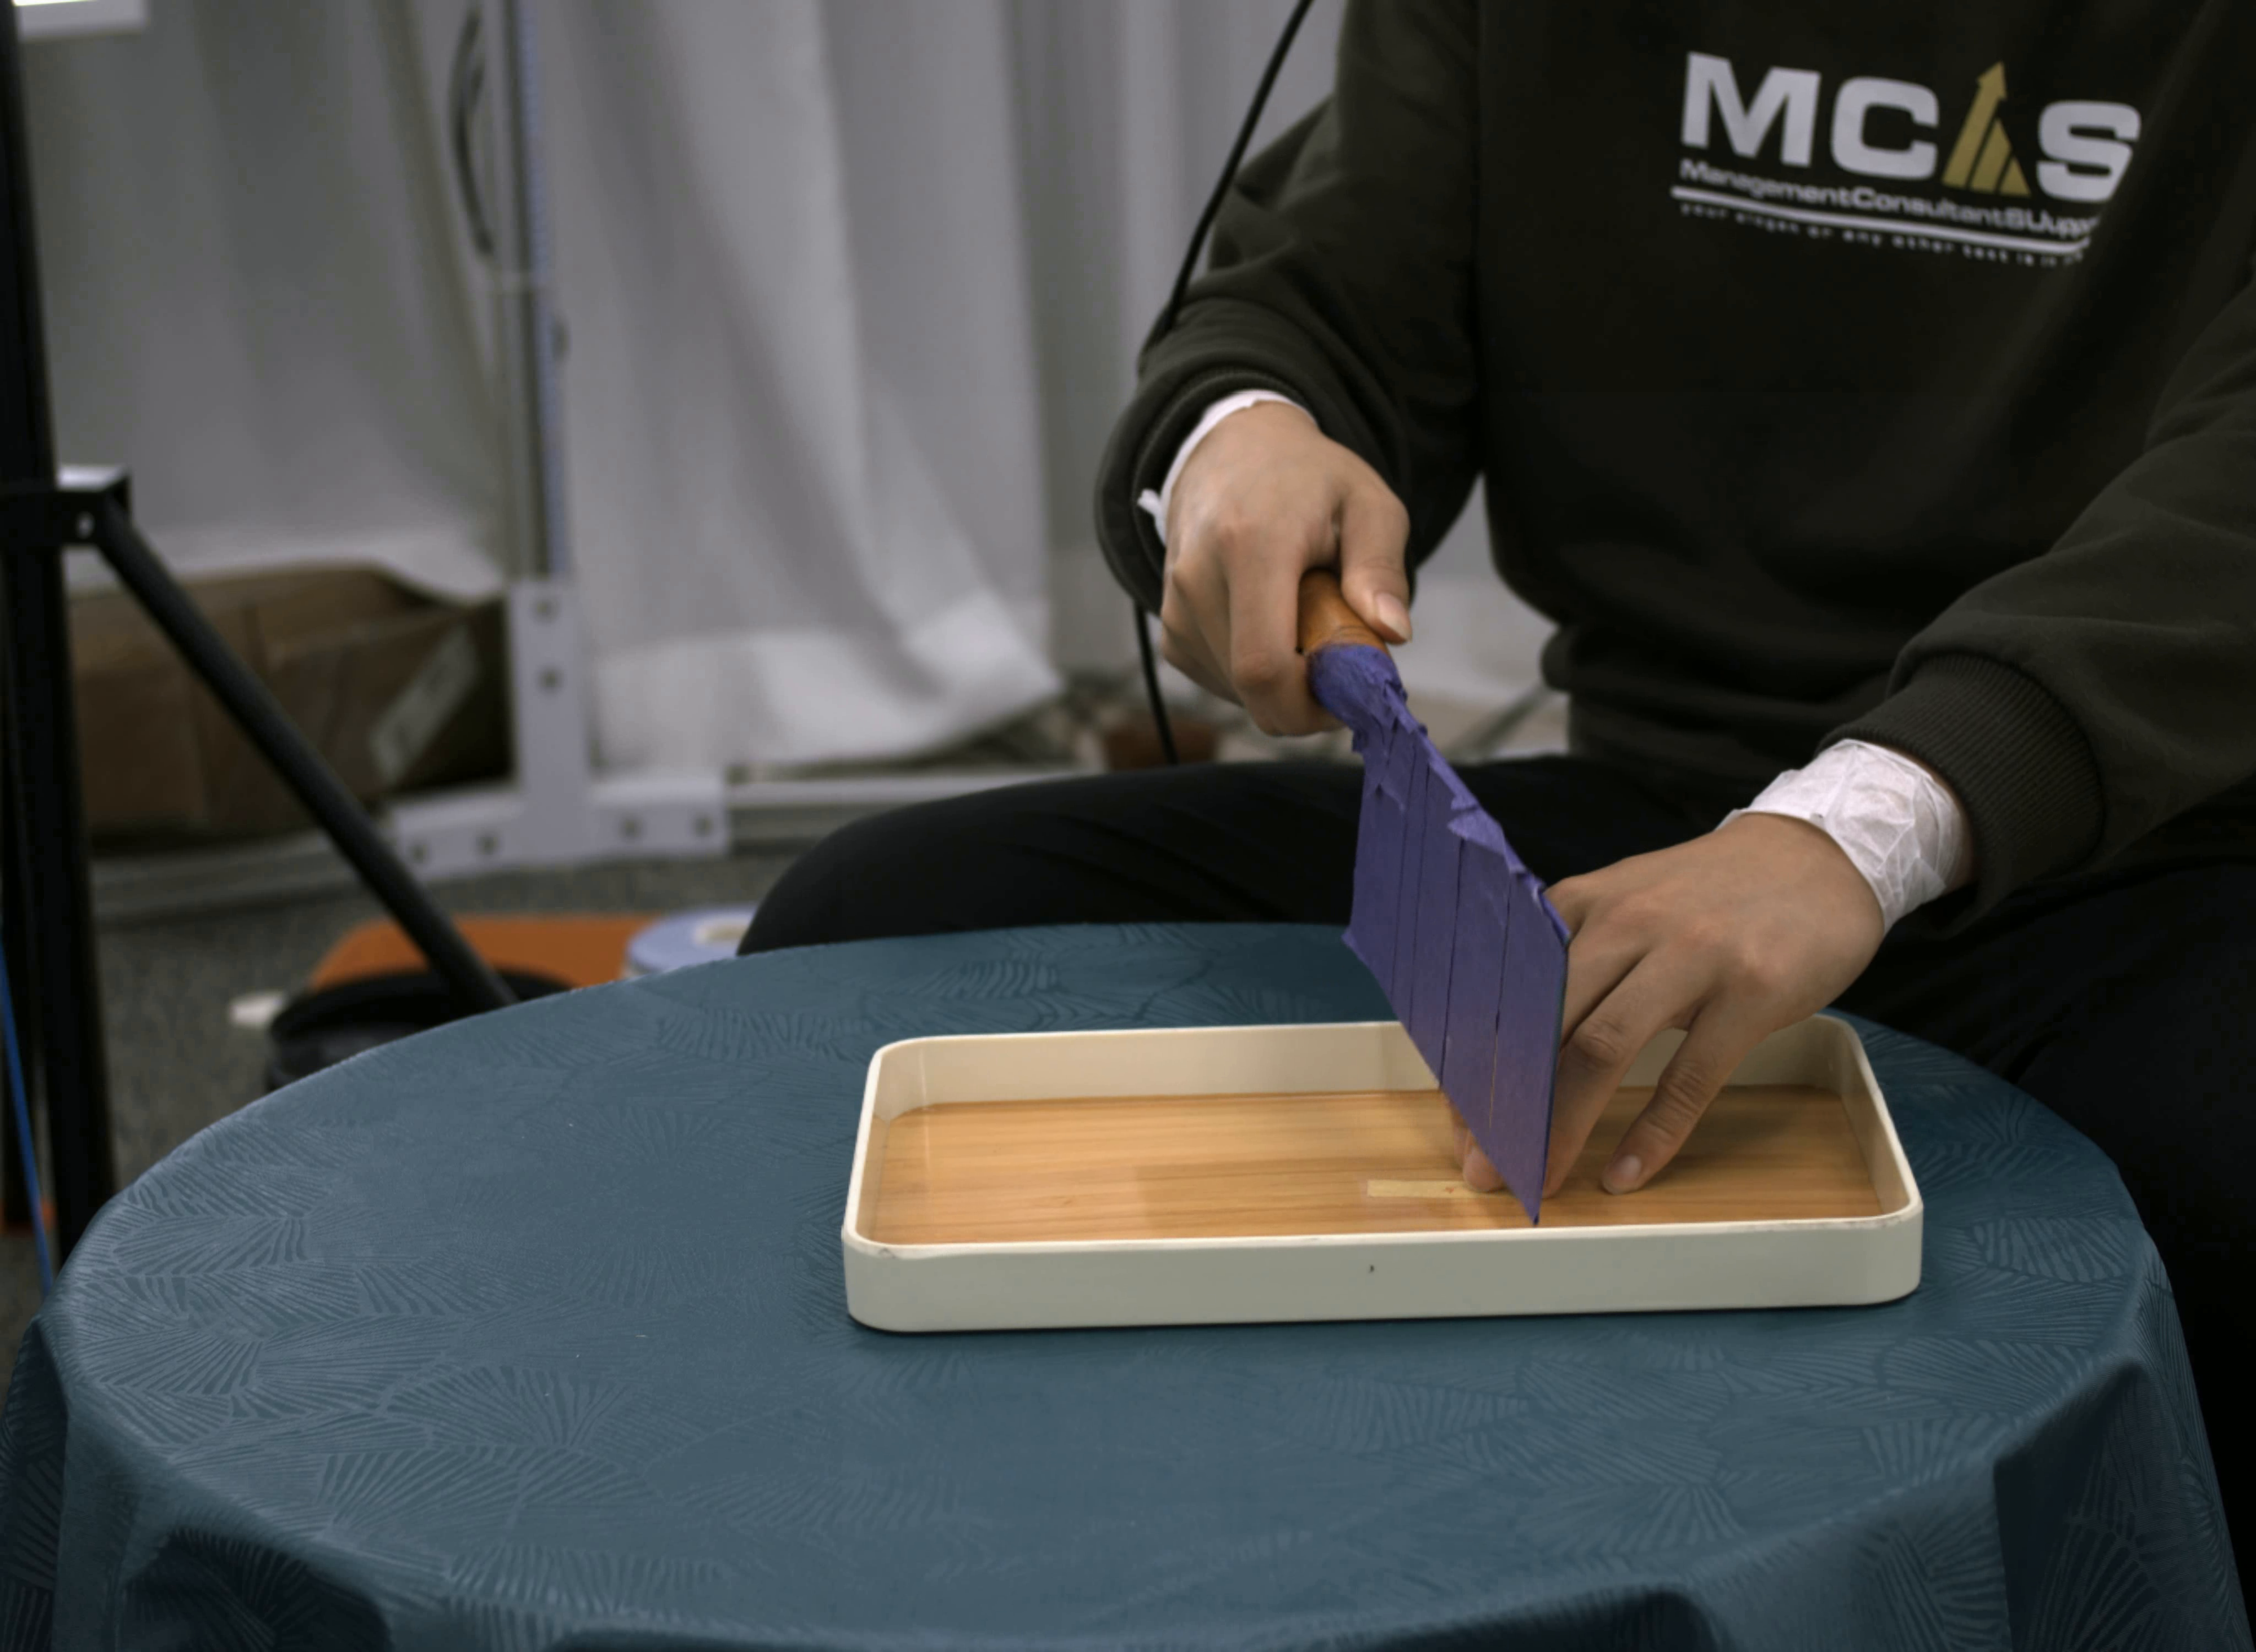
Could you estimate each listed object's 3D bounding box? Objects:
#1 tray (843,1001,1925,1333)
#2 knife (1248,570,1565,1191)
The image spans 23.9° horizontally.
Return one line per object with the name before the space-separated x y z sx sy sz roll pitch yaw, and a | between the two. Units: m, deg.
tray | 0.071 0.097 1.536 0.299 0.027 0.192 -2 16 3
knife | 0.079 0.013 1.584 0.032 0.104 0.319 2 20 -12
